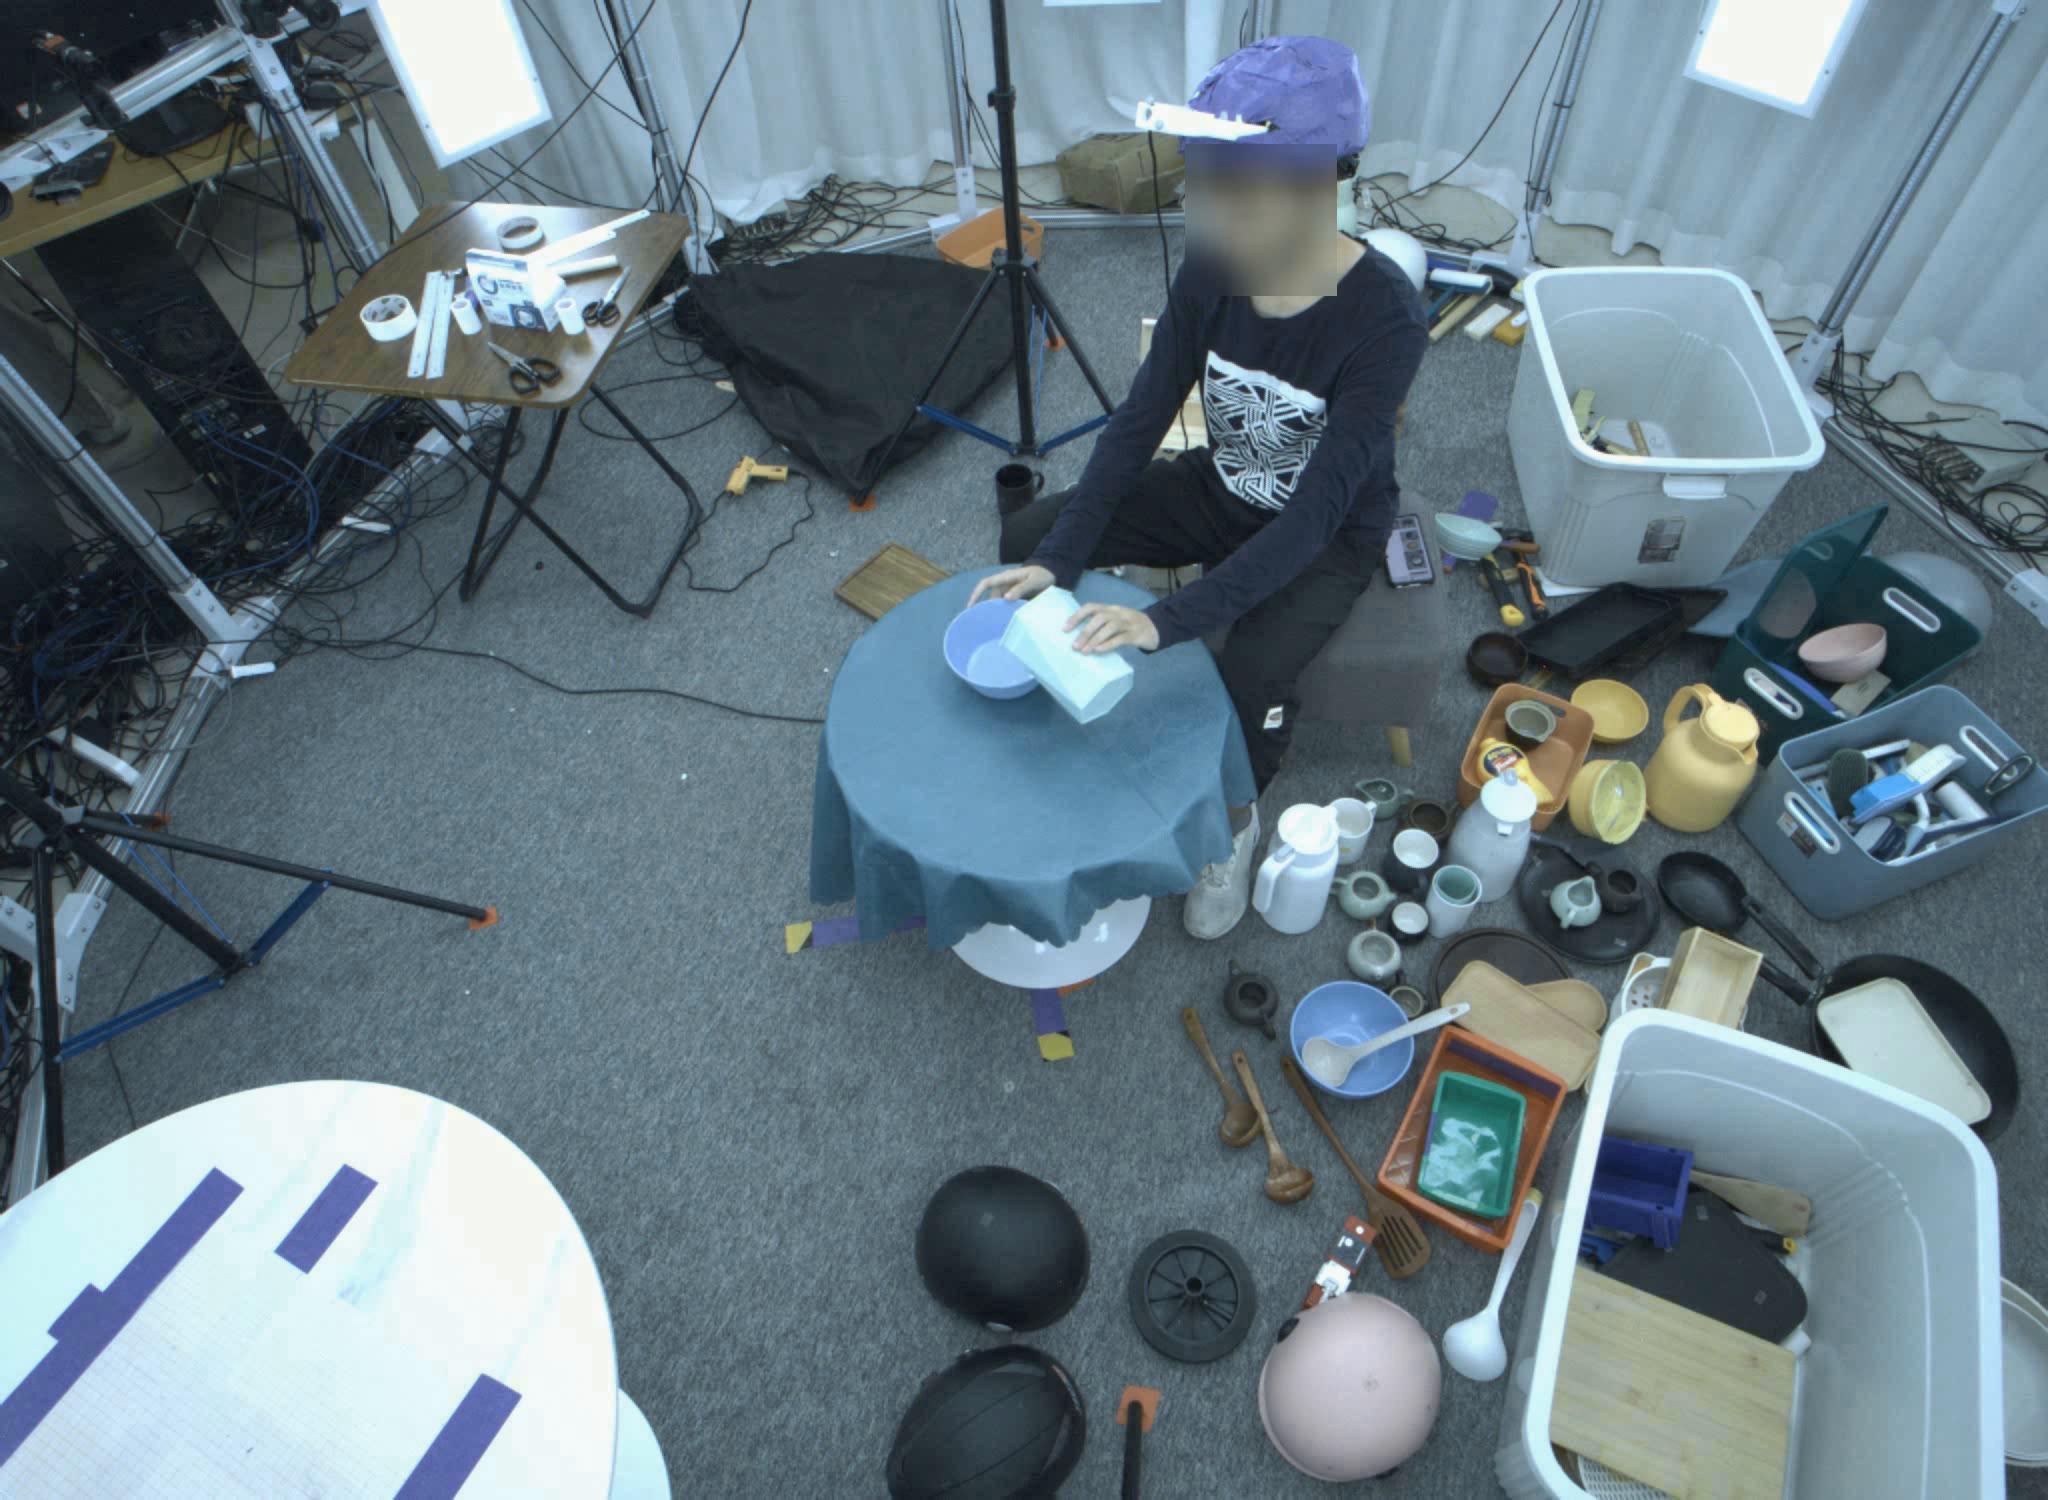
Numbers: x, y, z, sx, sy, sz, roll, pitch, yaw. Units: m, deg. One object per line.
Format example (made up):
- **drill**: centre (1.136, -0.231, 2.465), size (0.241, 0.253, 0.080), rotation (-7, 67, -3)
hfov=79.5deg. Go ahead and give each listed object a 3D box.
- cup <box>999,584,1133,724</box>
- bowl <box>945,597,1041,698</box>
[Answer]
- **cup**: centre (0.064, -0.130, 1.707), size (0.117, 0.130, 0.161), rotation (-23, 67, -41)
- **bowl**: centre (-0.029, -0.143, 1.839), size (0.176, 0.071, 0.174), rotation (0, 54, 2)
